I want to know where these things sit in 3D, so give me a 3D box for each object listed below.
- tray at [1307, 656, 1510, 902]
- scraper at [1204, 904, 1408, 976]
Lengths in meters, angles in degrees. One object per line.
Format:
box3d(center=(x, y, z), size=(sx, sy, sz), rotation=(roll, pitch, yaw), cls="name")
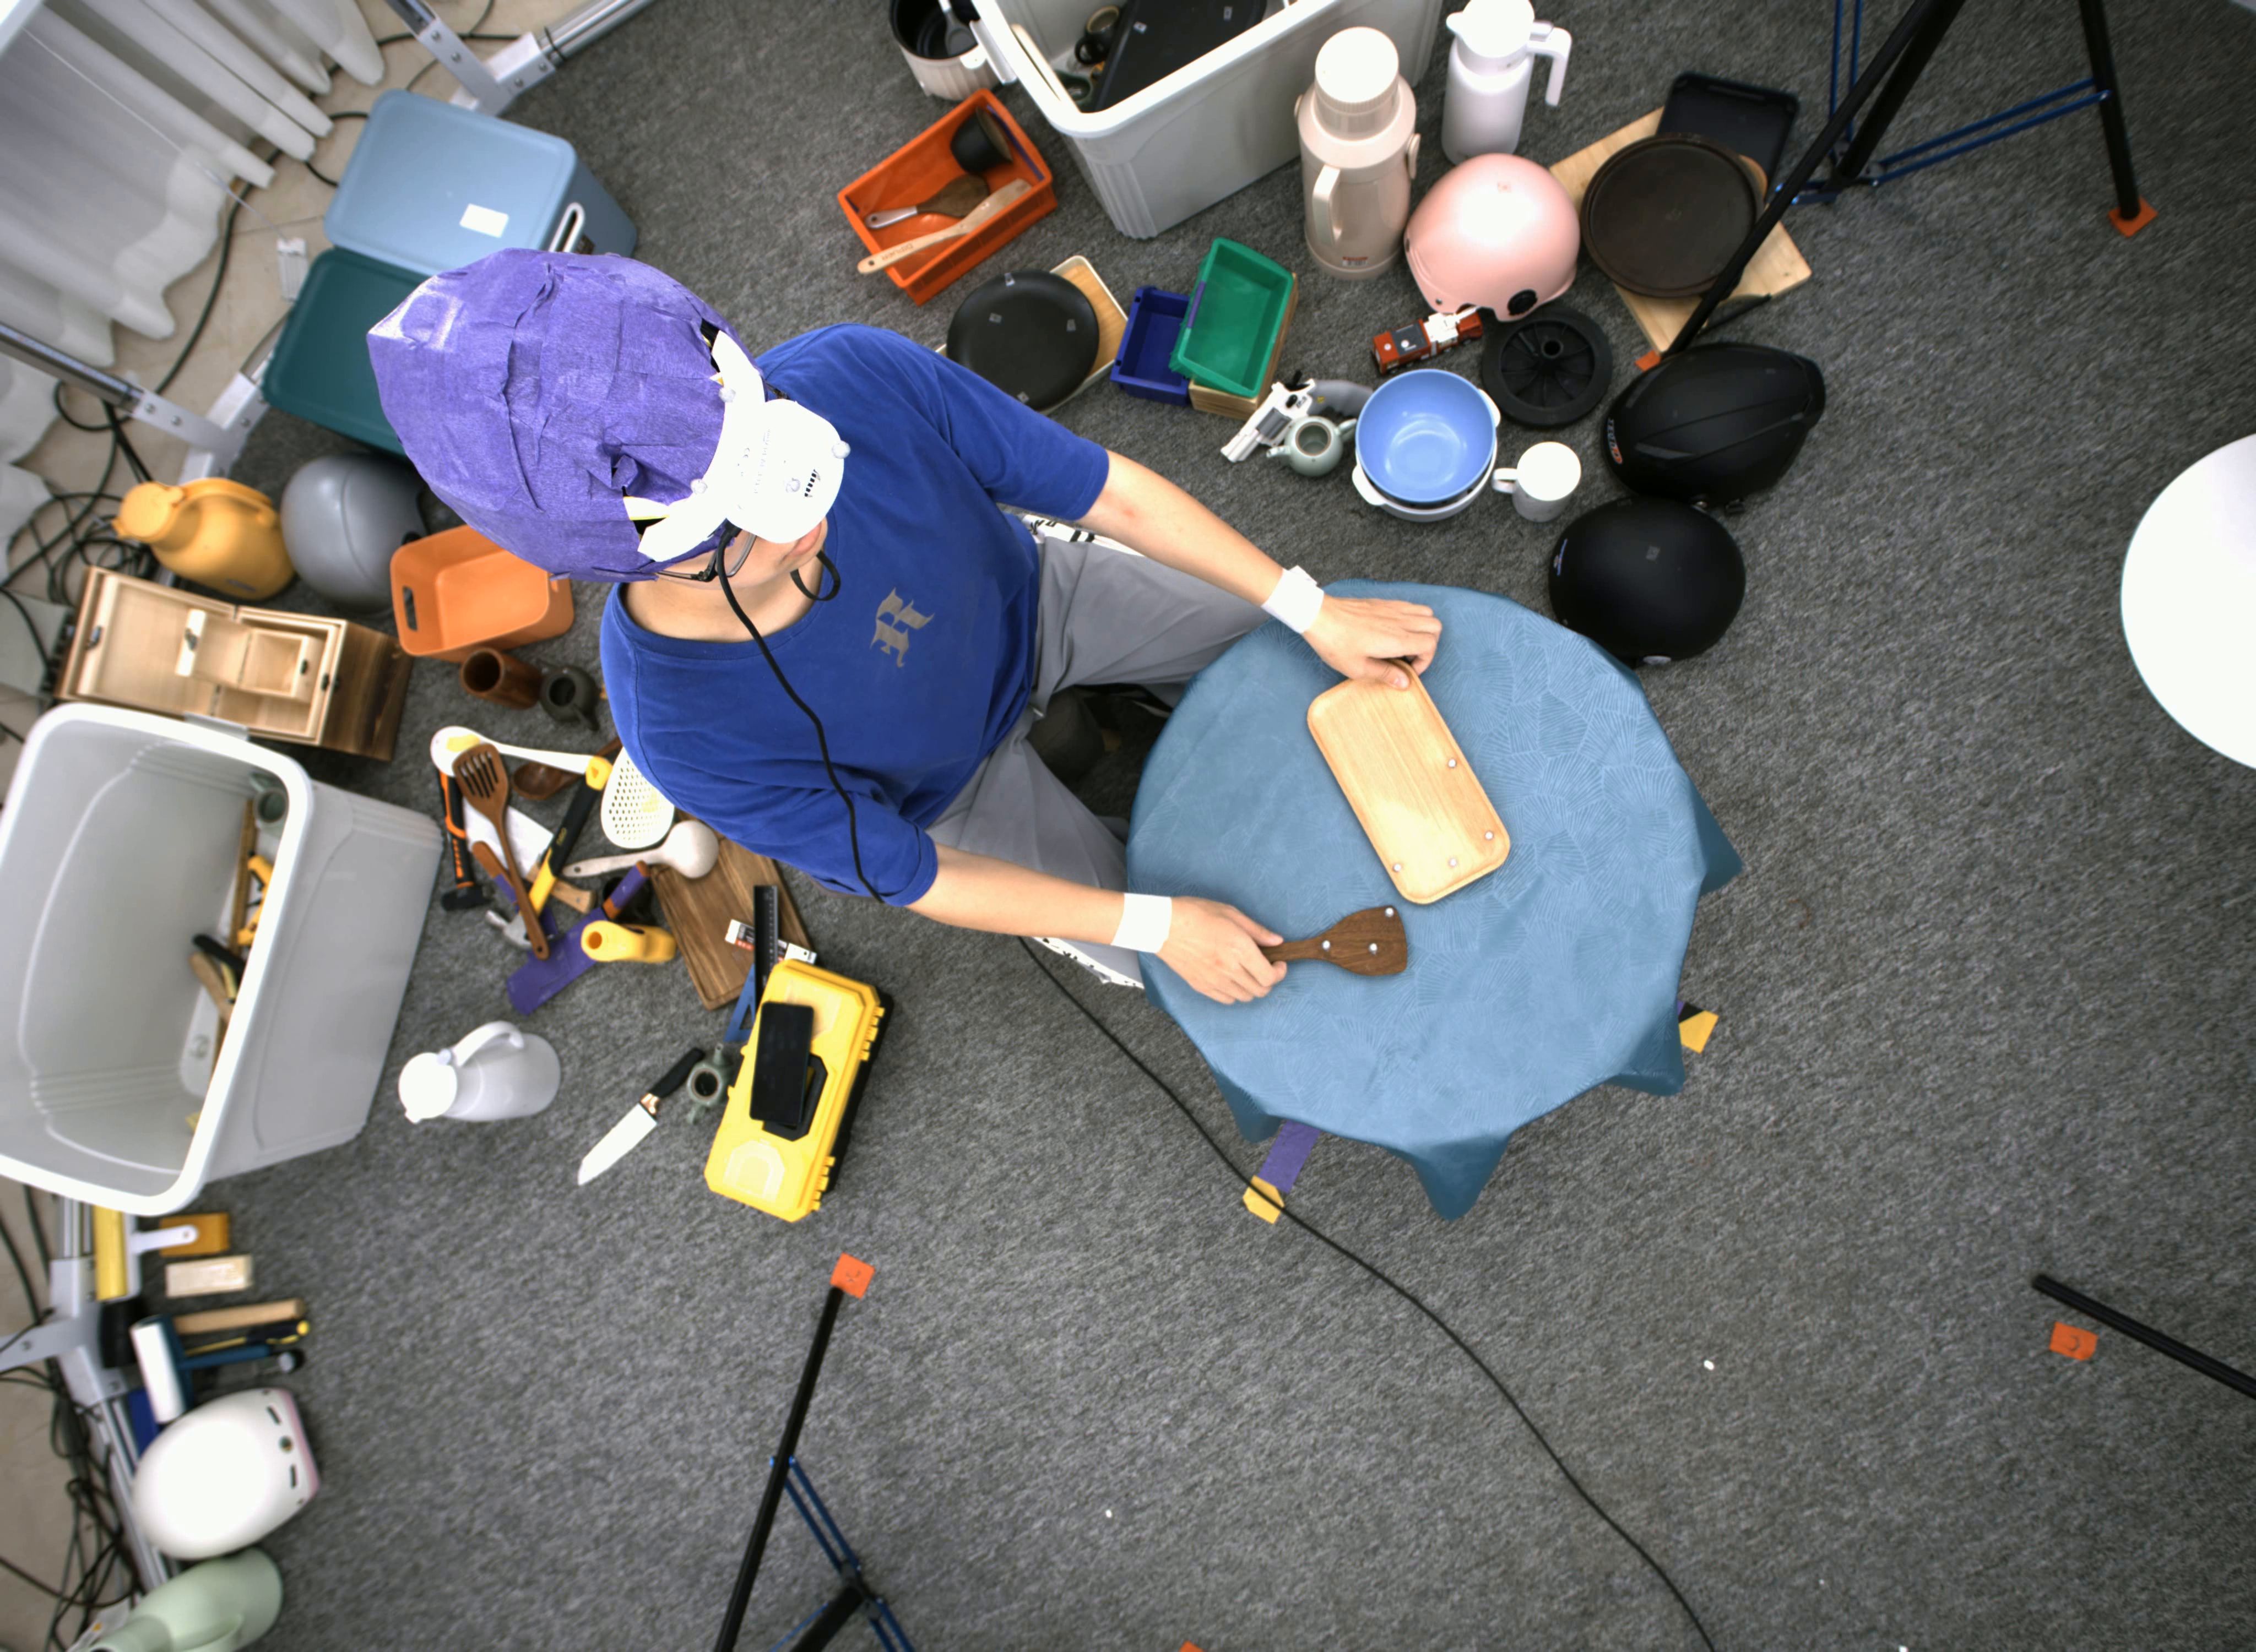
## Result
box3d(center=(0.294, -0.051, 1.448), size=(0.131, 0.023, 0.249), rotation=(-28, 82, 9), cls="tray")
box3d(center=(0.186, 0.128, 1.456), size=(0.212, 0.011, 0.075), rotation=(-7, 75, 6), cls="scraper")
